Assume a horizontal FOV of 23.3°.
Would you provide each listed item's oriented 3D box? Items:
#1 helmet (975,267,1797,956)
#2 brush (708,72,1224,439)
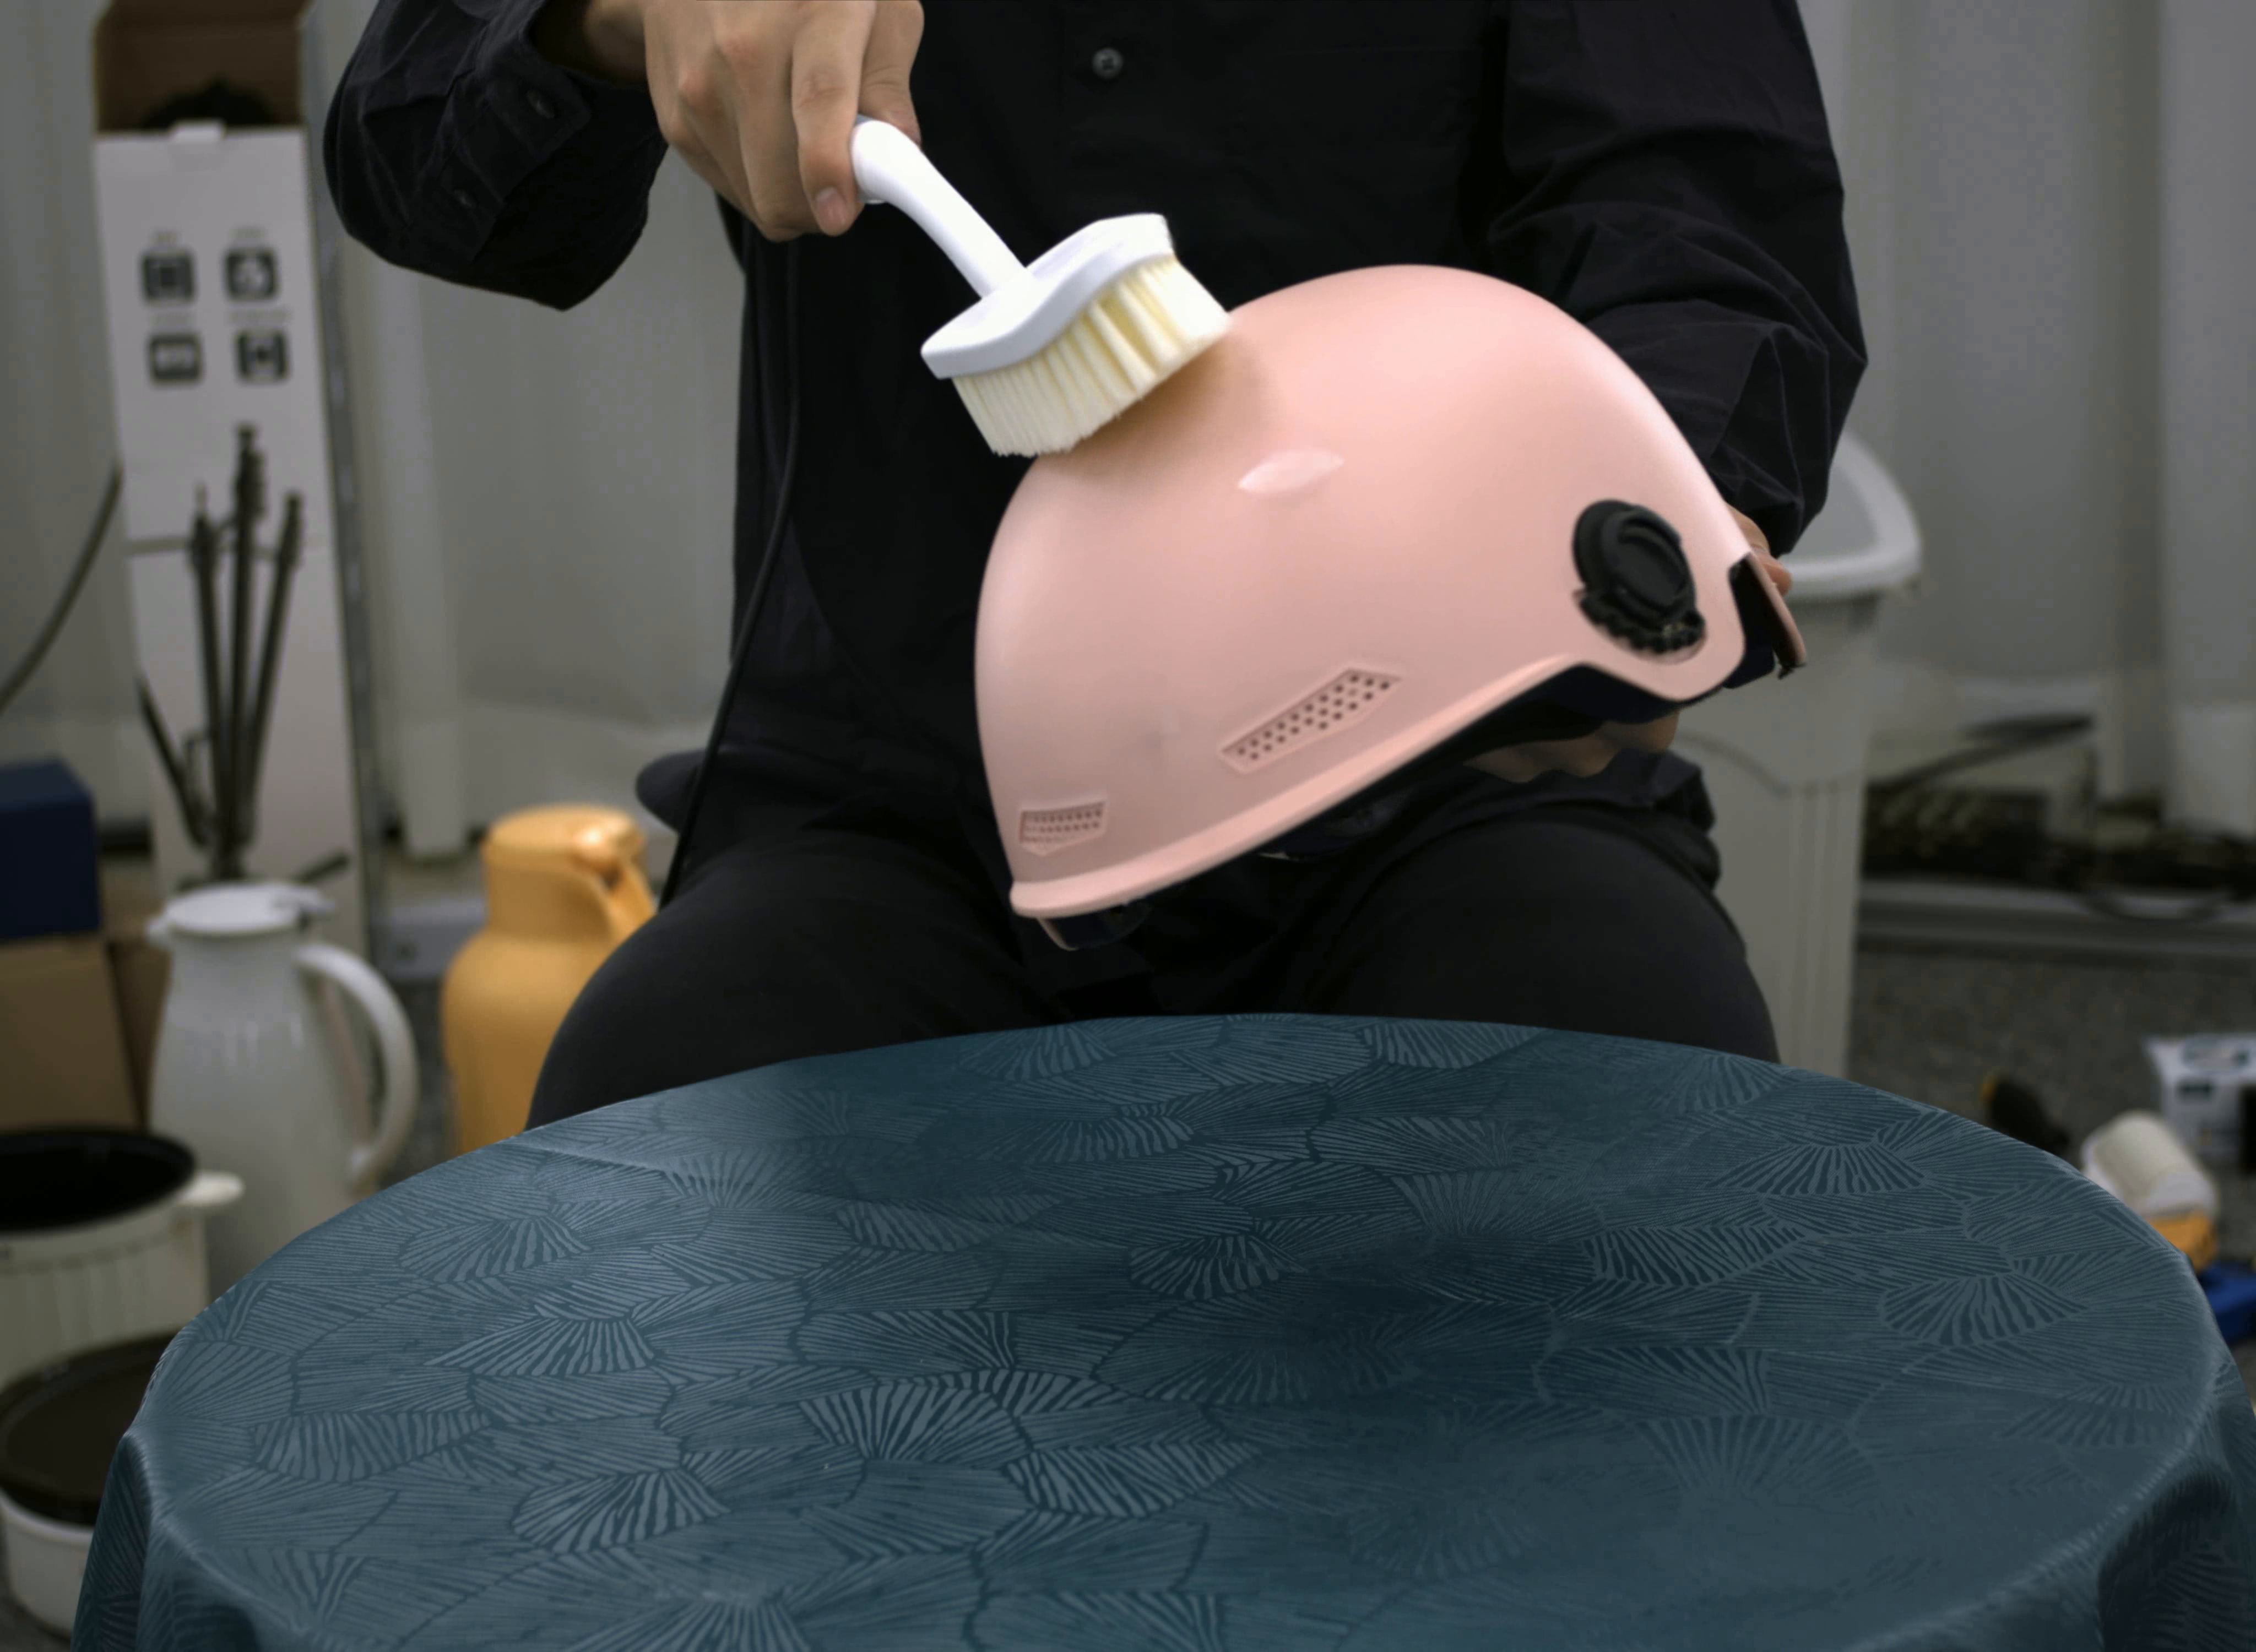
[{"bbox_3d":[0.053,-0.072,1.571,0.233,0.159,0.266,-22,2,32],"label":"helmet"},{"bbox_3d":[-0.046,-0.166,1.627,0.082,0.084,0.328,1,13,-22],"label":"brush"}]
